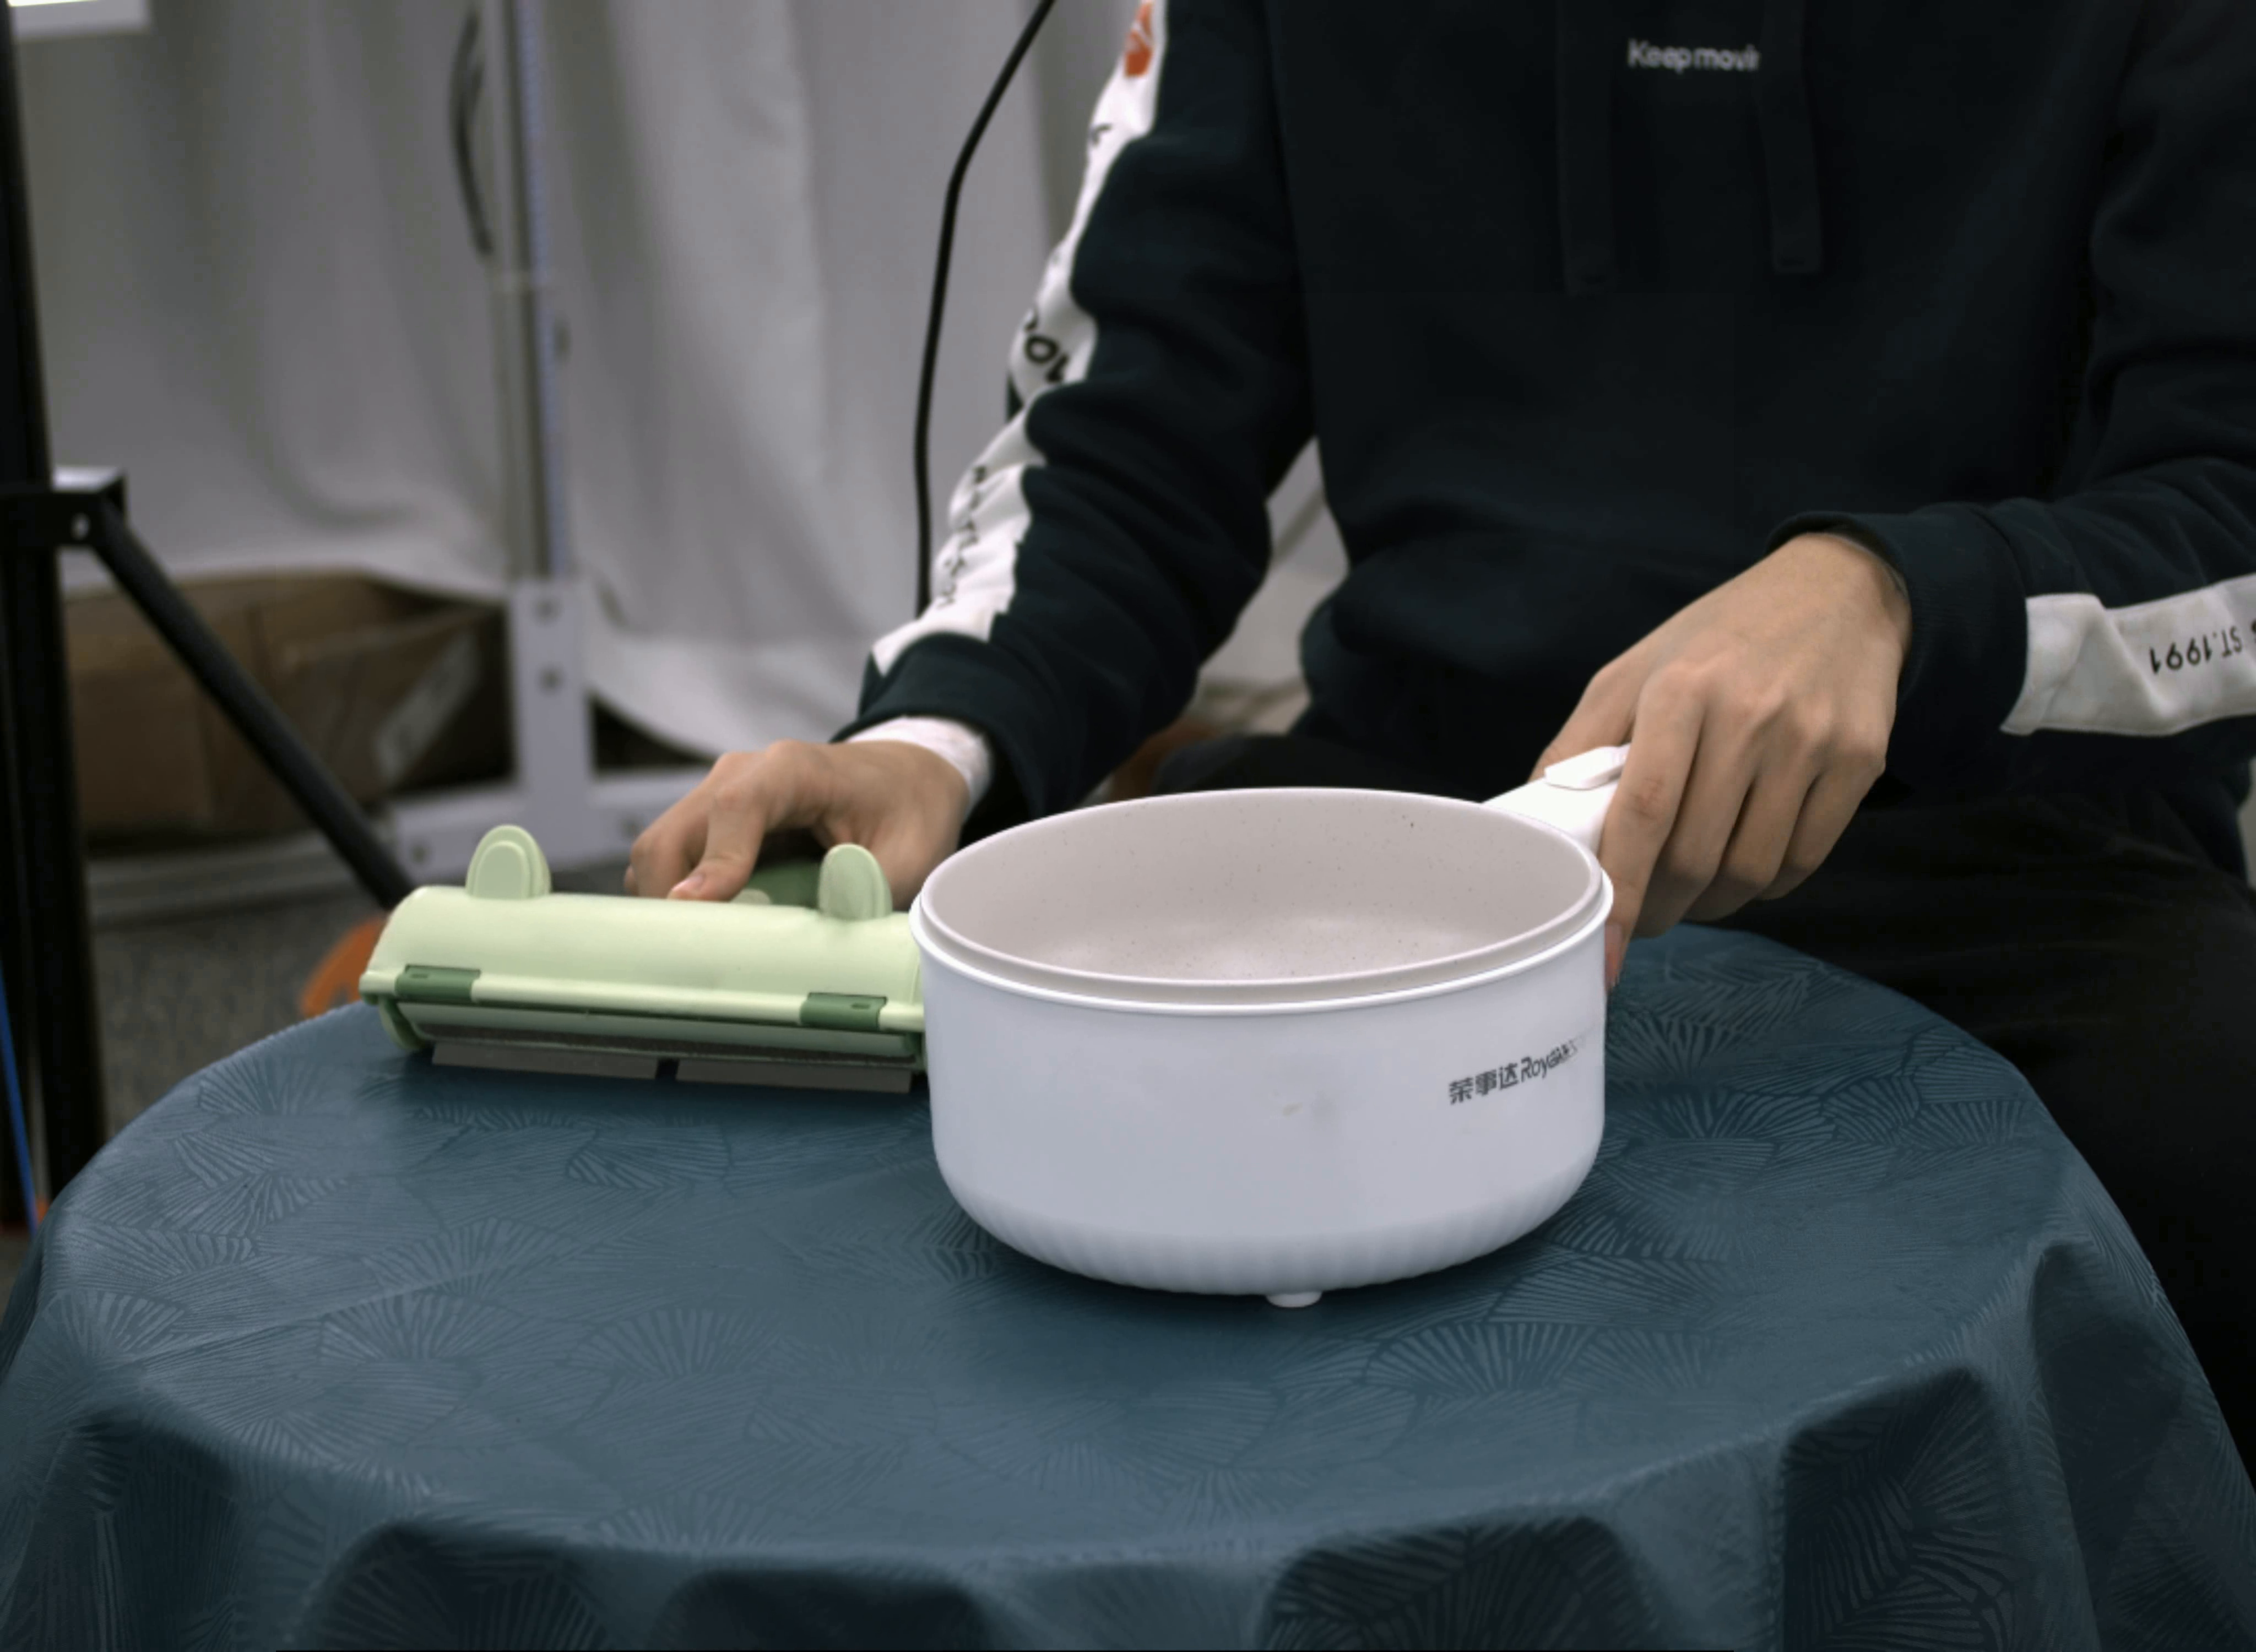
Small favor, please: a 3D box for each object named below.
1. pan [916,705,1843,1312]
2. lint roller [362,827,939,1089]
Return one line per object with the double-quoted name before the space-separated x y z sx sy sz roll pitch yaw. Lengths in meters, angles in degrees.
"pan" 0.093 0.048 1.573 0.206 0.102 0.347 11 20 42
"lint roller" -0.126 0.023 1.733 0.201 0.082 0.182 2 24 19
